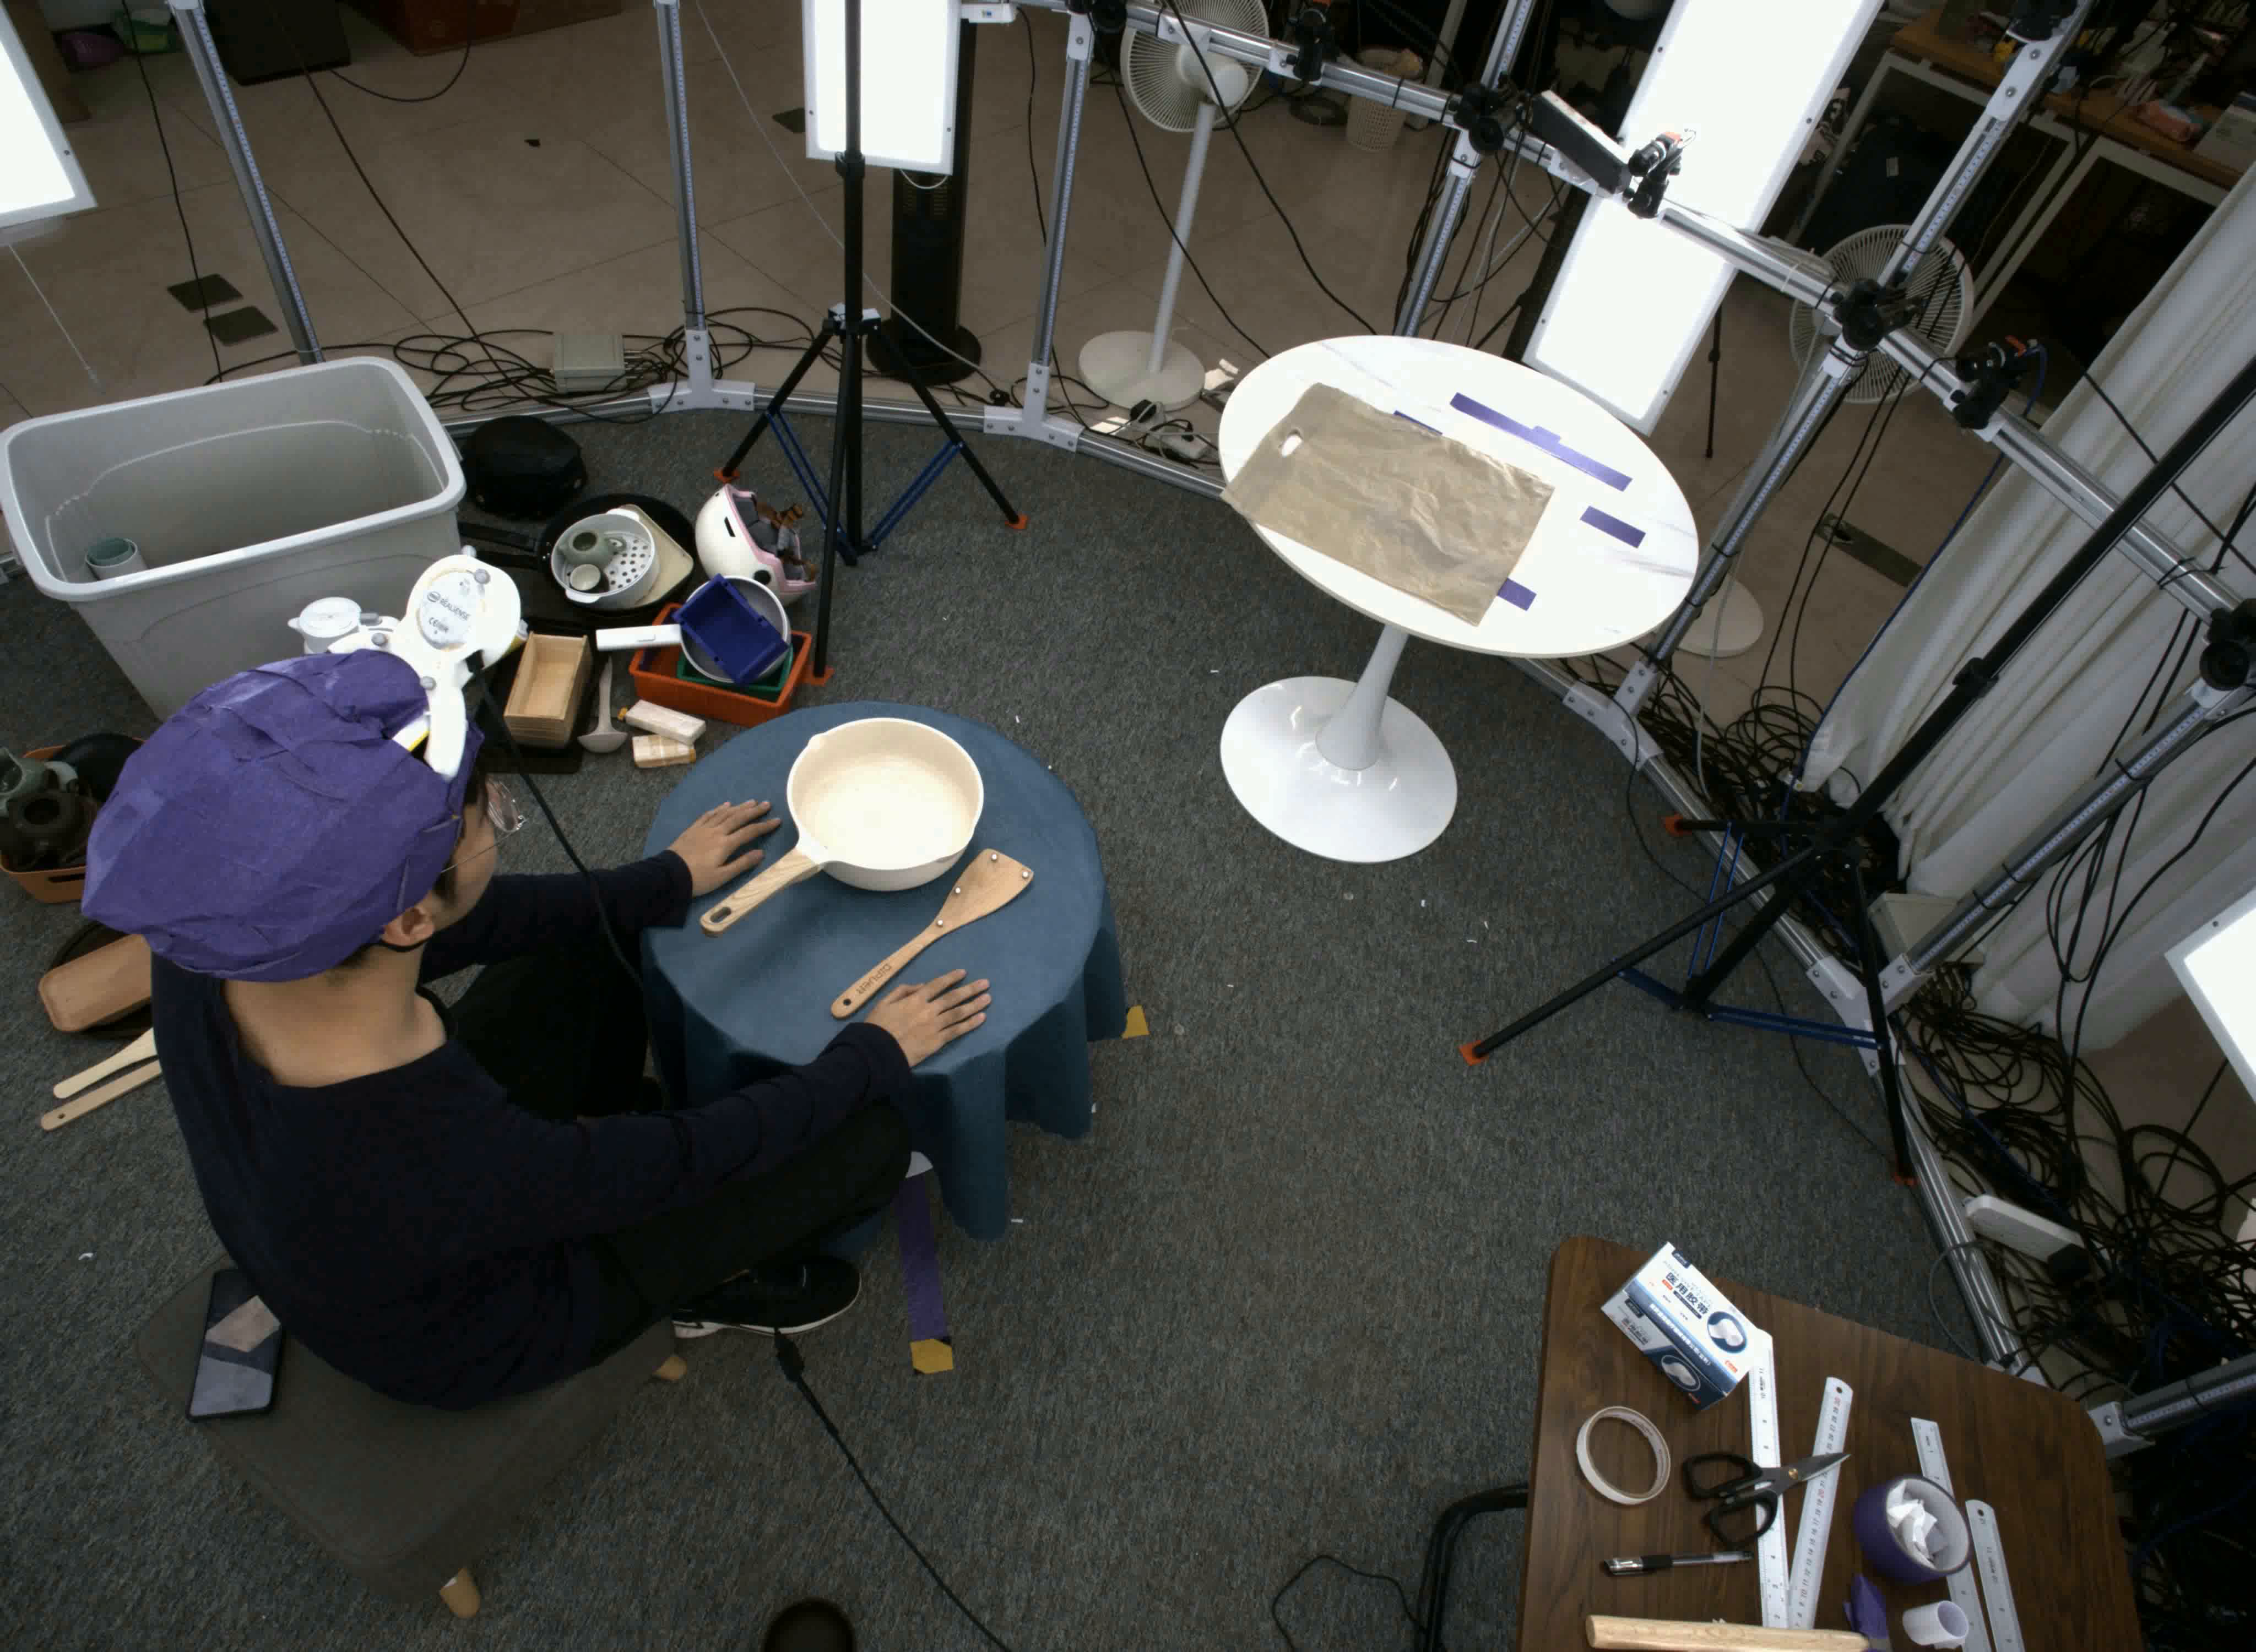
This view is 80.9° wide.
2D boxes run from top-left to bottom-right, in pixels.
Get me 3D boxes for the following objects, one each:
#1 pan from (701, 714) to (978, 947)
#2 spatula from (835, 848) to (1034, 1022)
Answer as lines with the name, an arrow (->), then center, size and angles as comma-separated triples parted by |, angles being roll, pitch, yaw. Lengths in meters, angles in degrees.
pan -> -0.375, 0.025, 1.651 | 0.258, 0.104, 0.434 | 35, 54, 12
spatula -> -0.251, 0.135, 1.654 | 0.078, 0.017, 0.327 | 38, 54, 14
